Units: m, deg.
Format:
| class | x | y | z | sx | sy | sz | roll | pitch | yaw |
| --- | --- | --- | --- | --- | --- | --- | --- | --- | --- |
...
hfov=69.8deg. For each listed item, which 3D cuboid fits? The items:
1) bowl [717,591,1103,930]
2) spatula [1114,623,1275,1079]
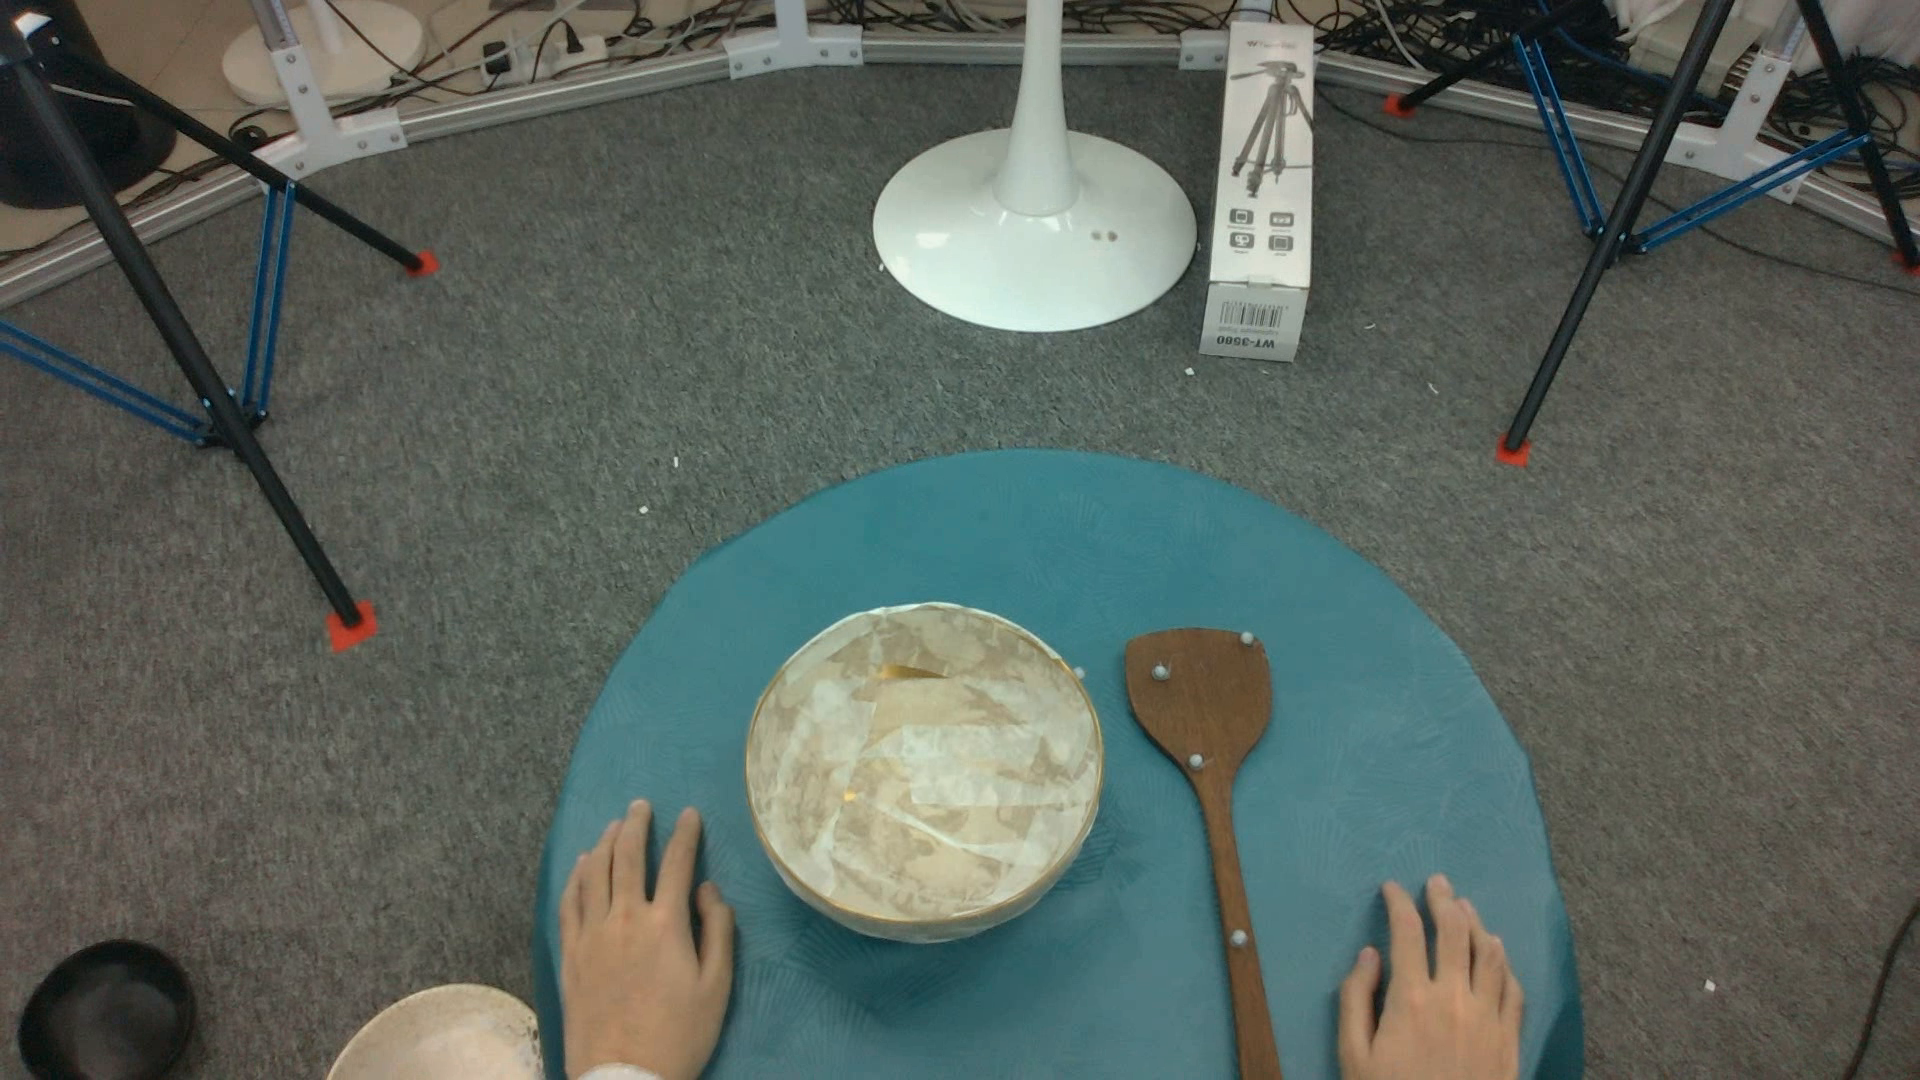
| class | x | y | z | sx | sy | sz | roll | pitch | yaw |
| --- | --- | --- | --- | --- | --- | --- | --- | --- | --- |
| bowl | -0.028 | 0.139 | 0.790 | 0.215 | 0.094 | 0.215 | 2 | 52 | -2 |
| spatula | 0.152 | 0.206 | 0.789 | 0.096 | 0.016 | 0.387 | -1 | 51 | -2 |
